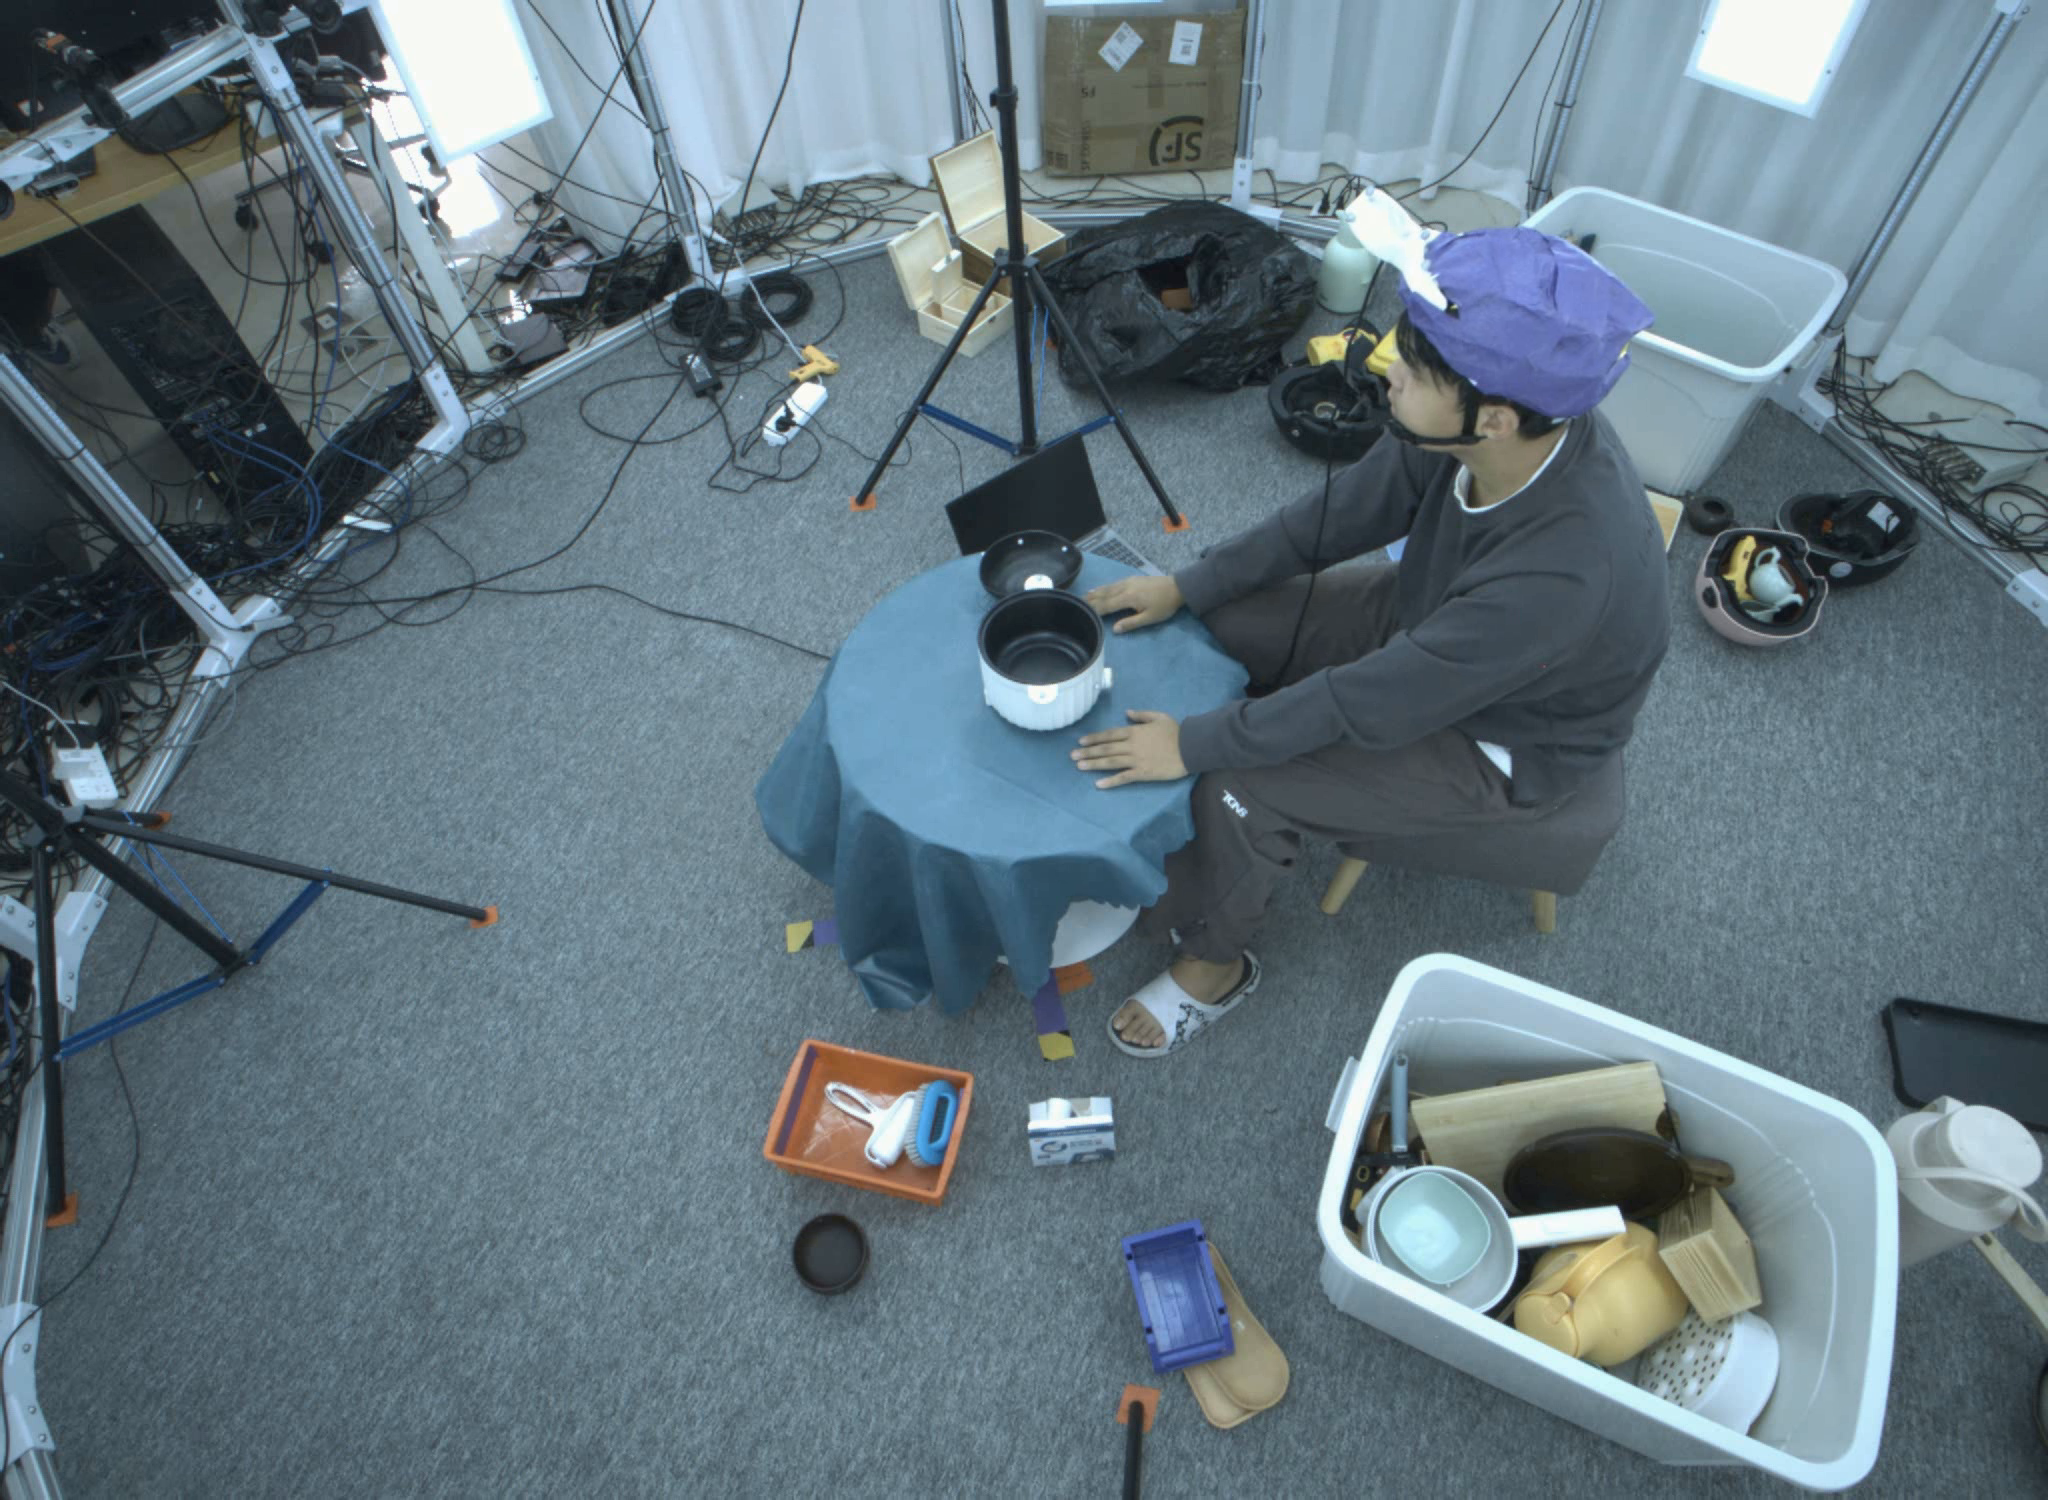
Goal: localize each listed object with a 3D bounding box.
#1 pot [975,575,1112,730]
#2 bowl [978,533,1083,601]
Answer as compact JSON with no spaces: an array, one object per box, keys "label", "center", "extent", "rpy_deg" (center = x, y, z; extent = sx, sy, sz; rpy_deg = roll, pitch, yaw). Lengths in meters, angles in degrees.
[{"label":"pot","center":[0.031,-0.127,1.792],"extent":[0.190,0.144,0.237],"rpy_deg":[-5,56,2]},{"label":"bowl","center":[0.010,-0.277,1.944],"extent":[0.172,0.067,0.135],"rpy_deg":[-21,57,-15]}]
